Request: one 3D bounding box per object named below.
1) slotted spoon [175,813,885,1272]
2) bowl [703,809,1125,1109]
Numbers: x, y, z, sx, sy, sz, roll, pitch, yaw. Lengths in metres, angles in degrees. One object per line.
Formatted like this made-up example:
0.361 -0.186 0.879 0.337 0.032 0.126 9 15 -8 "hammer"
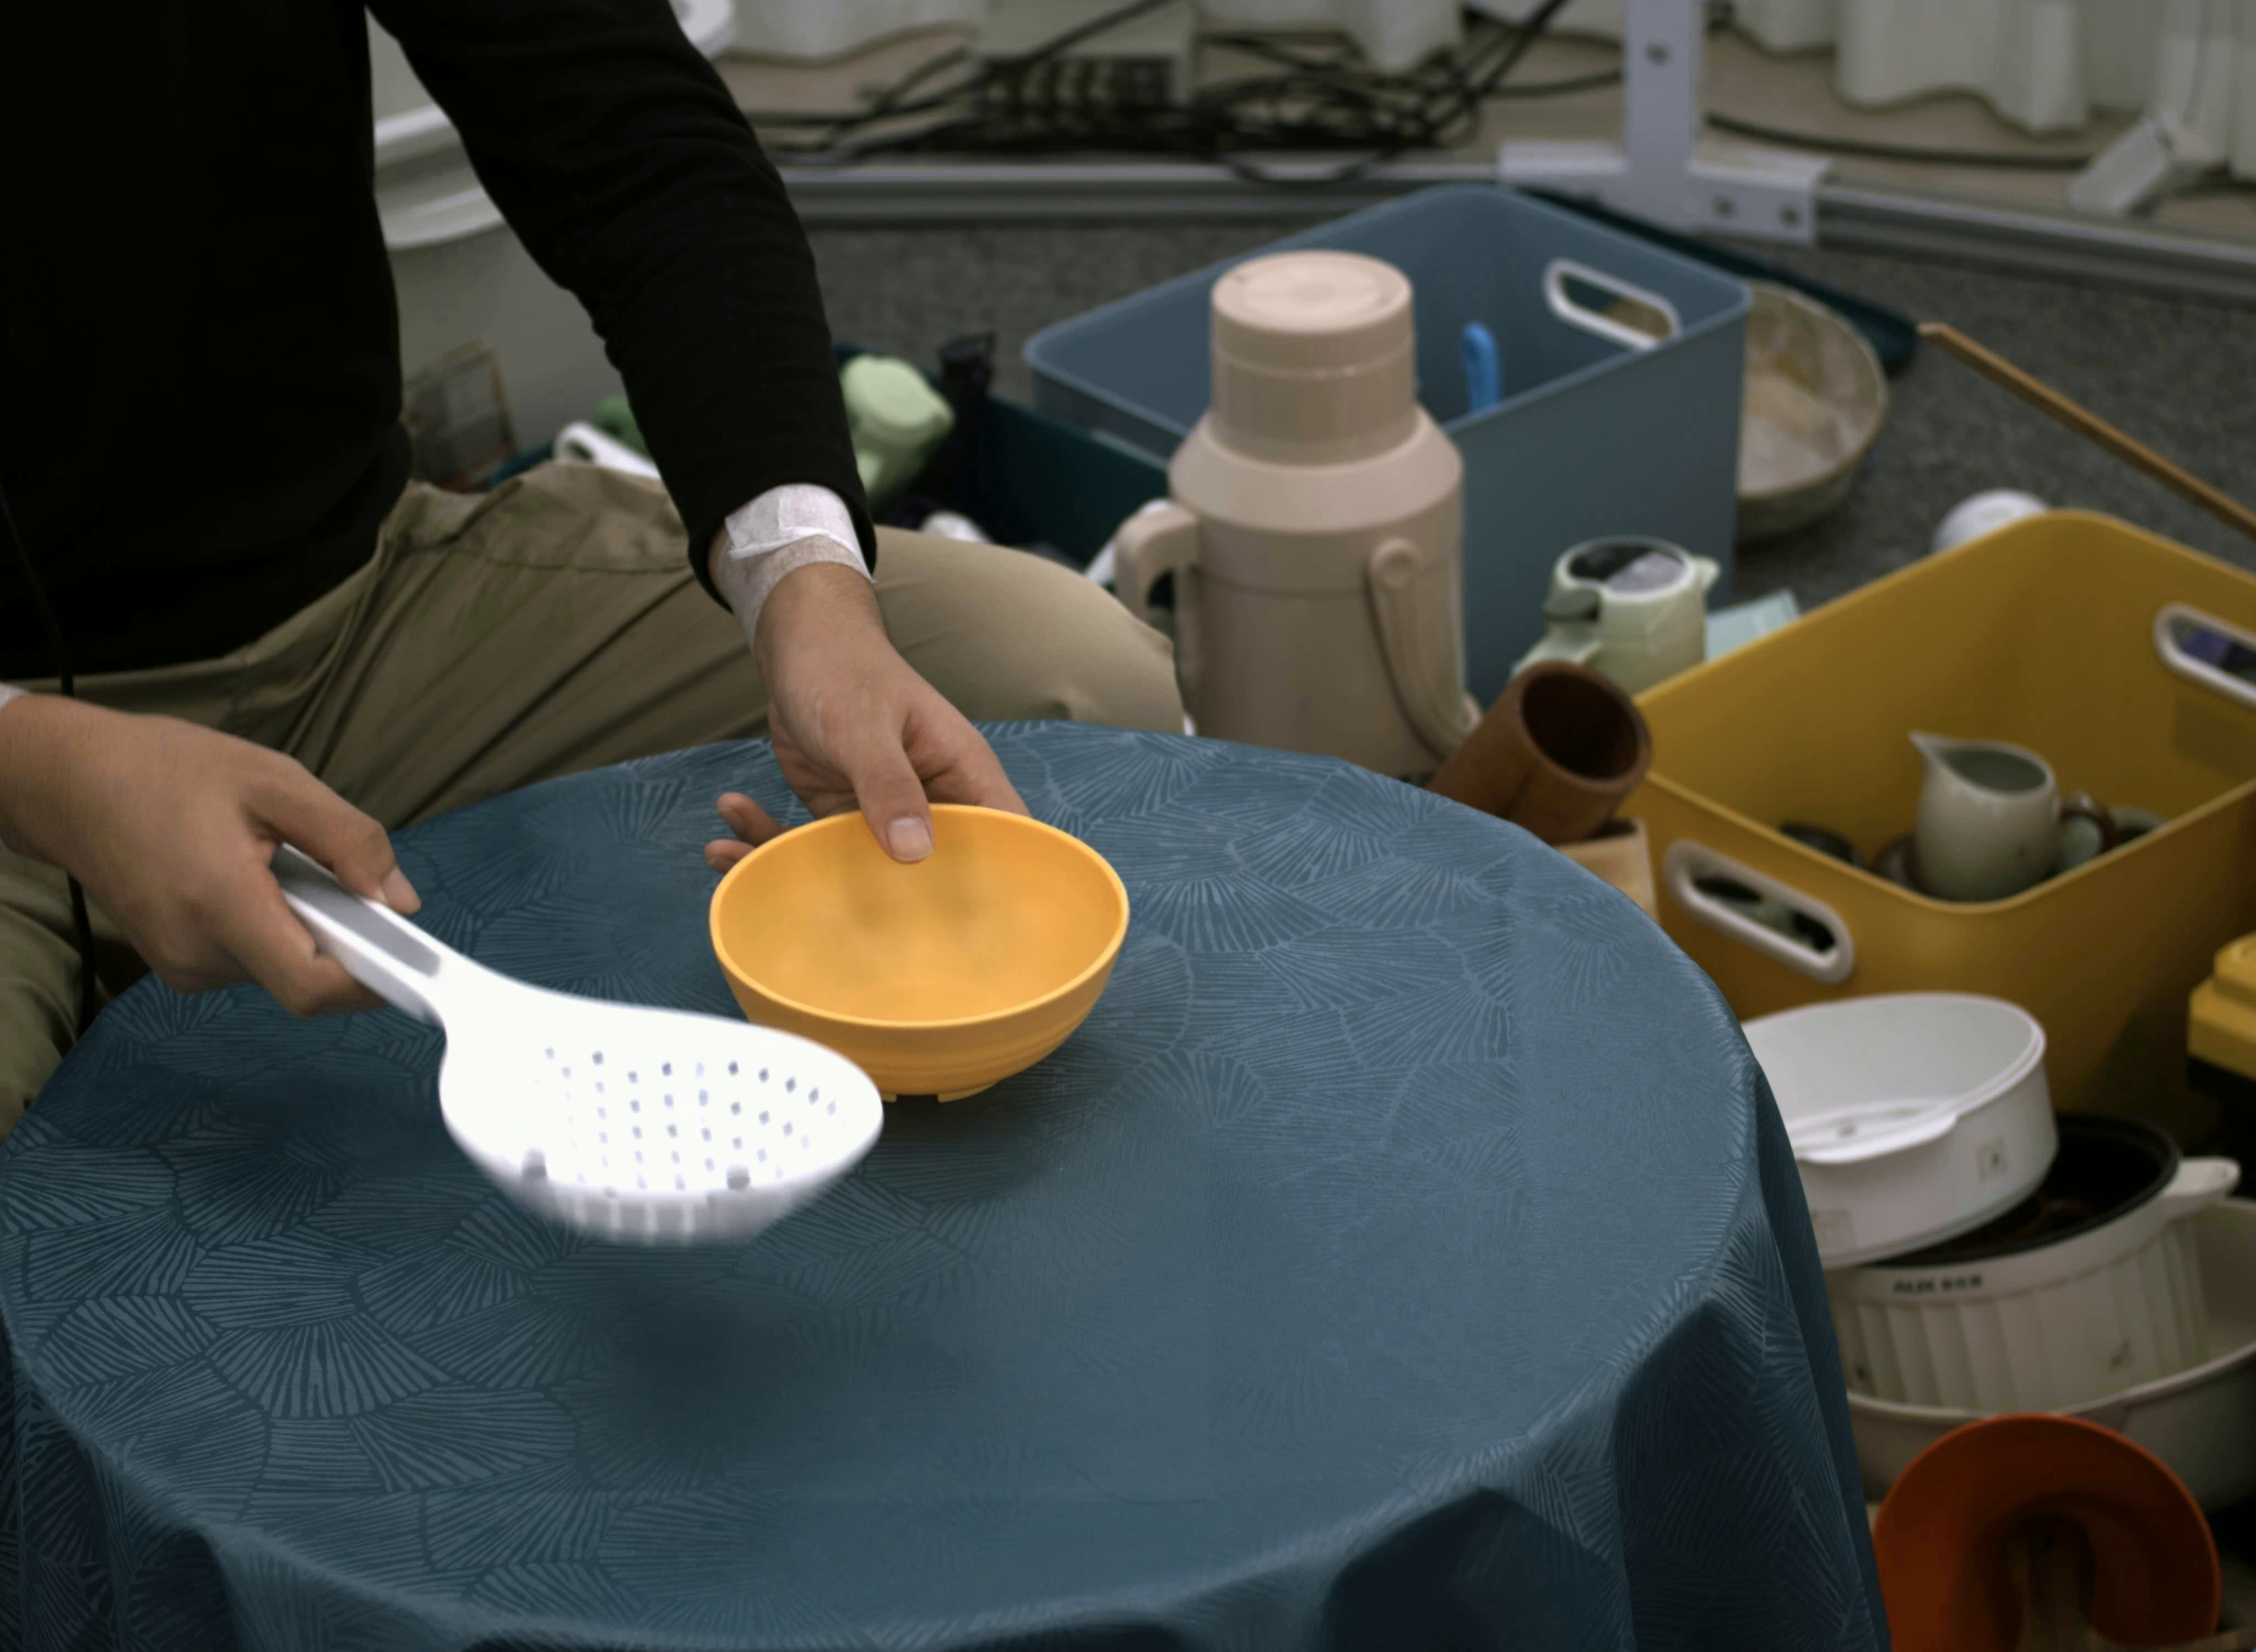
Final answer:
-0.211 0.064 1.816 0.137 0.045 0.350 -16 35 -36 "slotted spoon"
-0.074 0.055 1.933 0.144 0.059 0.147 1 29 0 "bowl"
